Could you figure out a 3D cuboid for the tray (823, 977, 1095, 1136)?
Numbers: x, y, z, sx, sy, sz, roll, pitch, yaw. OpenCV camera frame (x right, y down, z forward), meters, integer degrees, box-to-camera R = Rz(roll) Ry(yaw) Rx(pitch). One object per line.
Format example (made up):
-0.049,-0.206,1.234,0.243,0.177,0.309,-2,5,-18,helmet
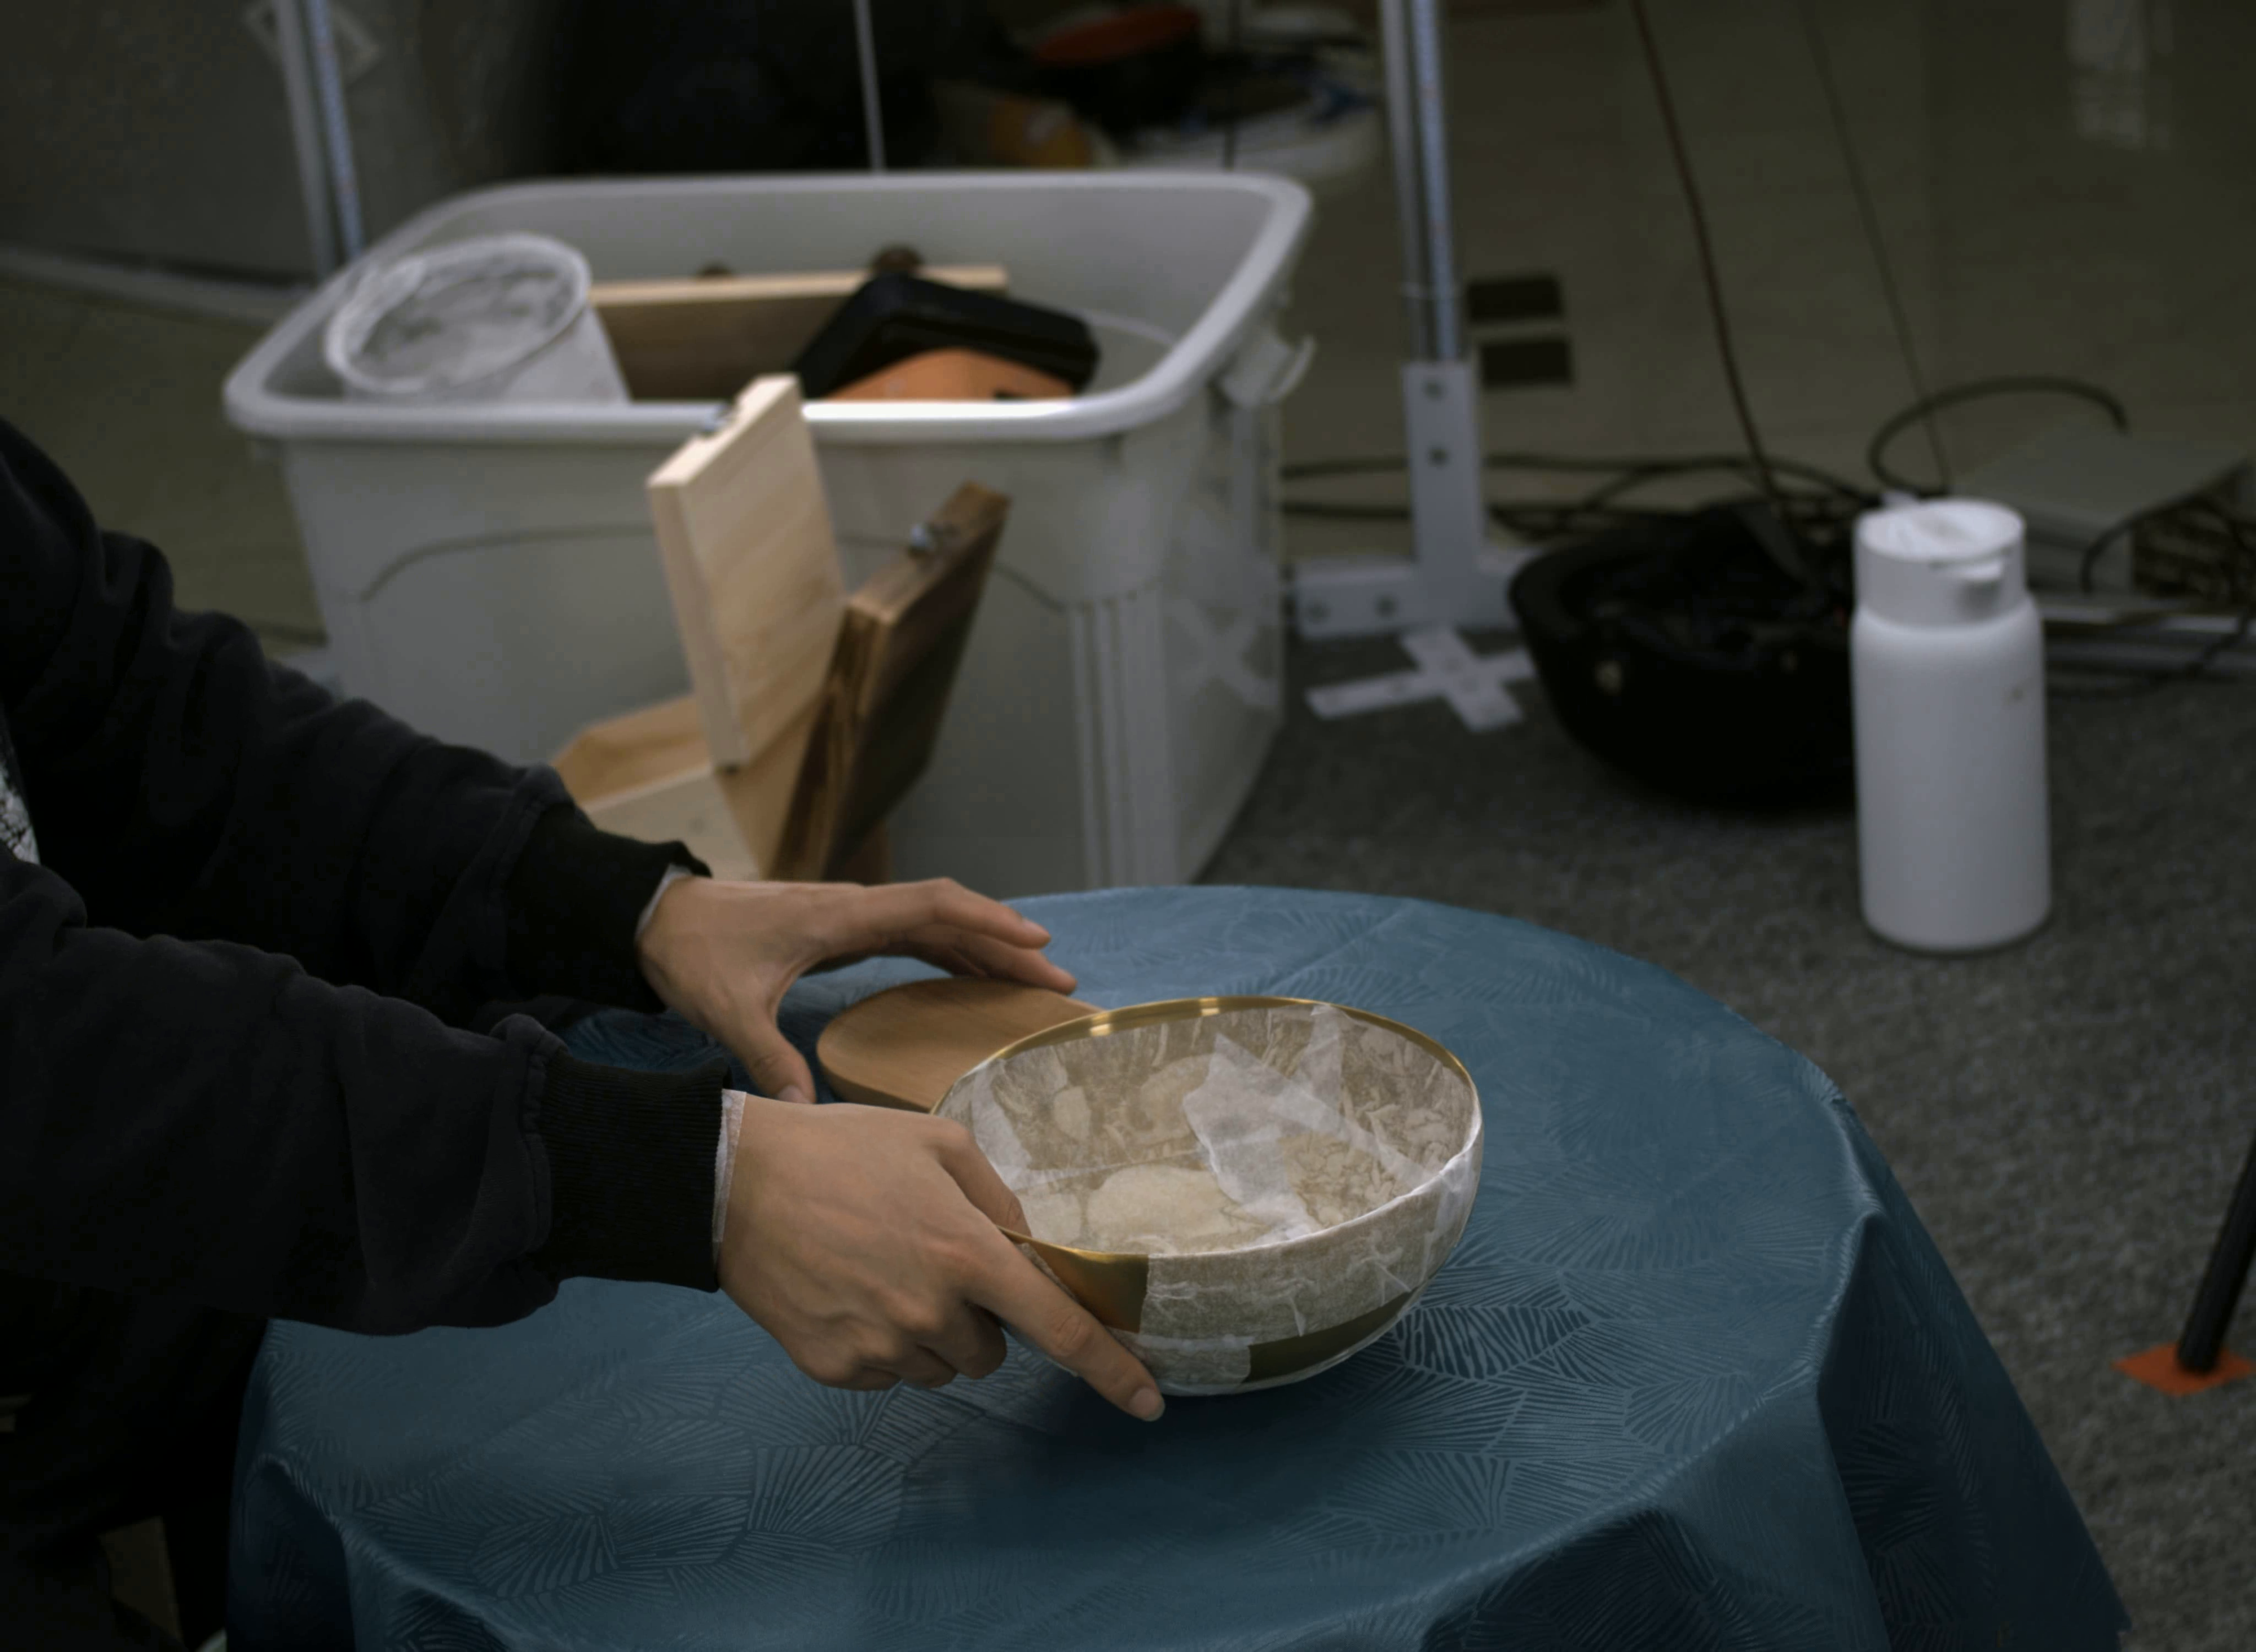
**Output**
-0.023,0.104,2.216,0.229,0.020,0.100,18,36,38,tray

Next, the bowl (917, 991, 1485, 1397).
0.028,0.142,2.027,0.214,0.096,0.211,-5,25,2,bowl
